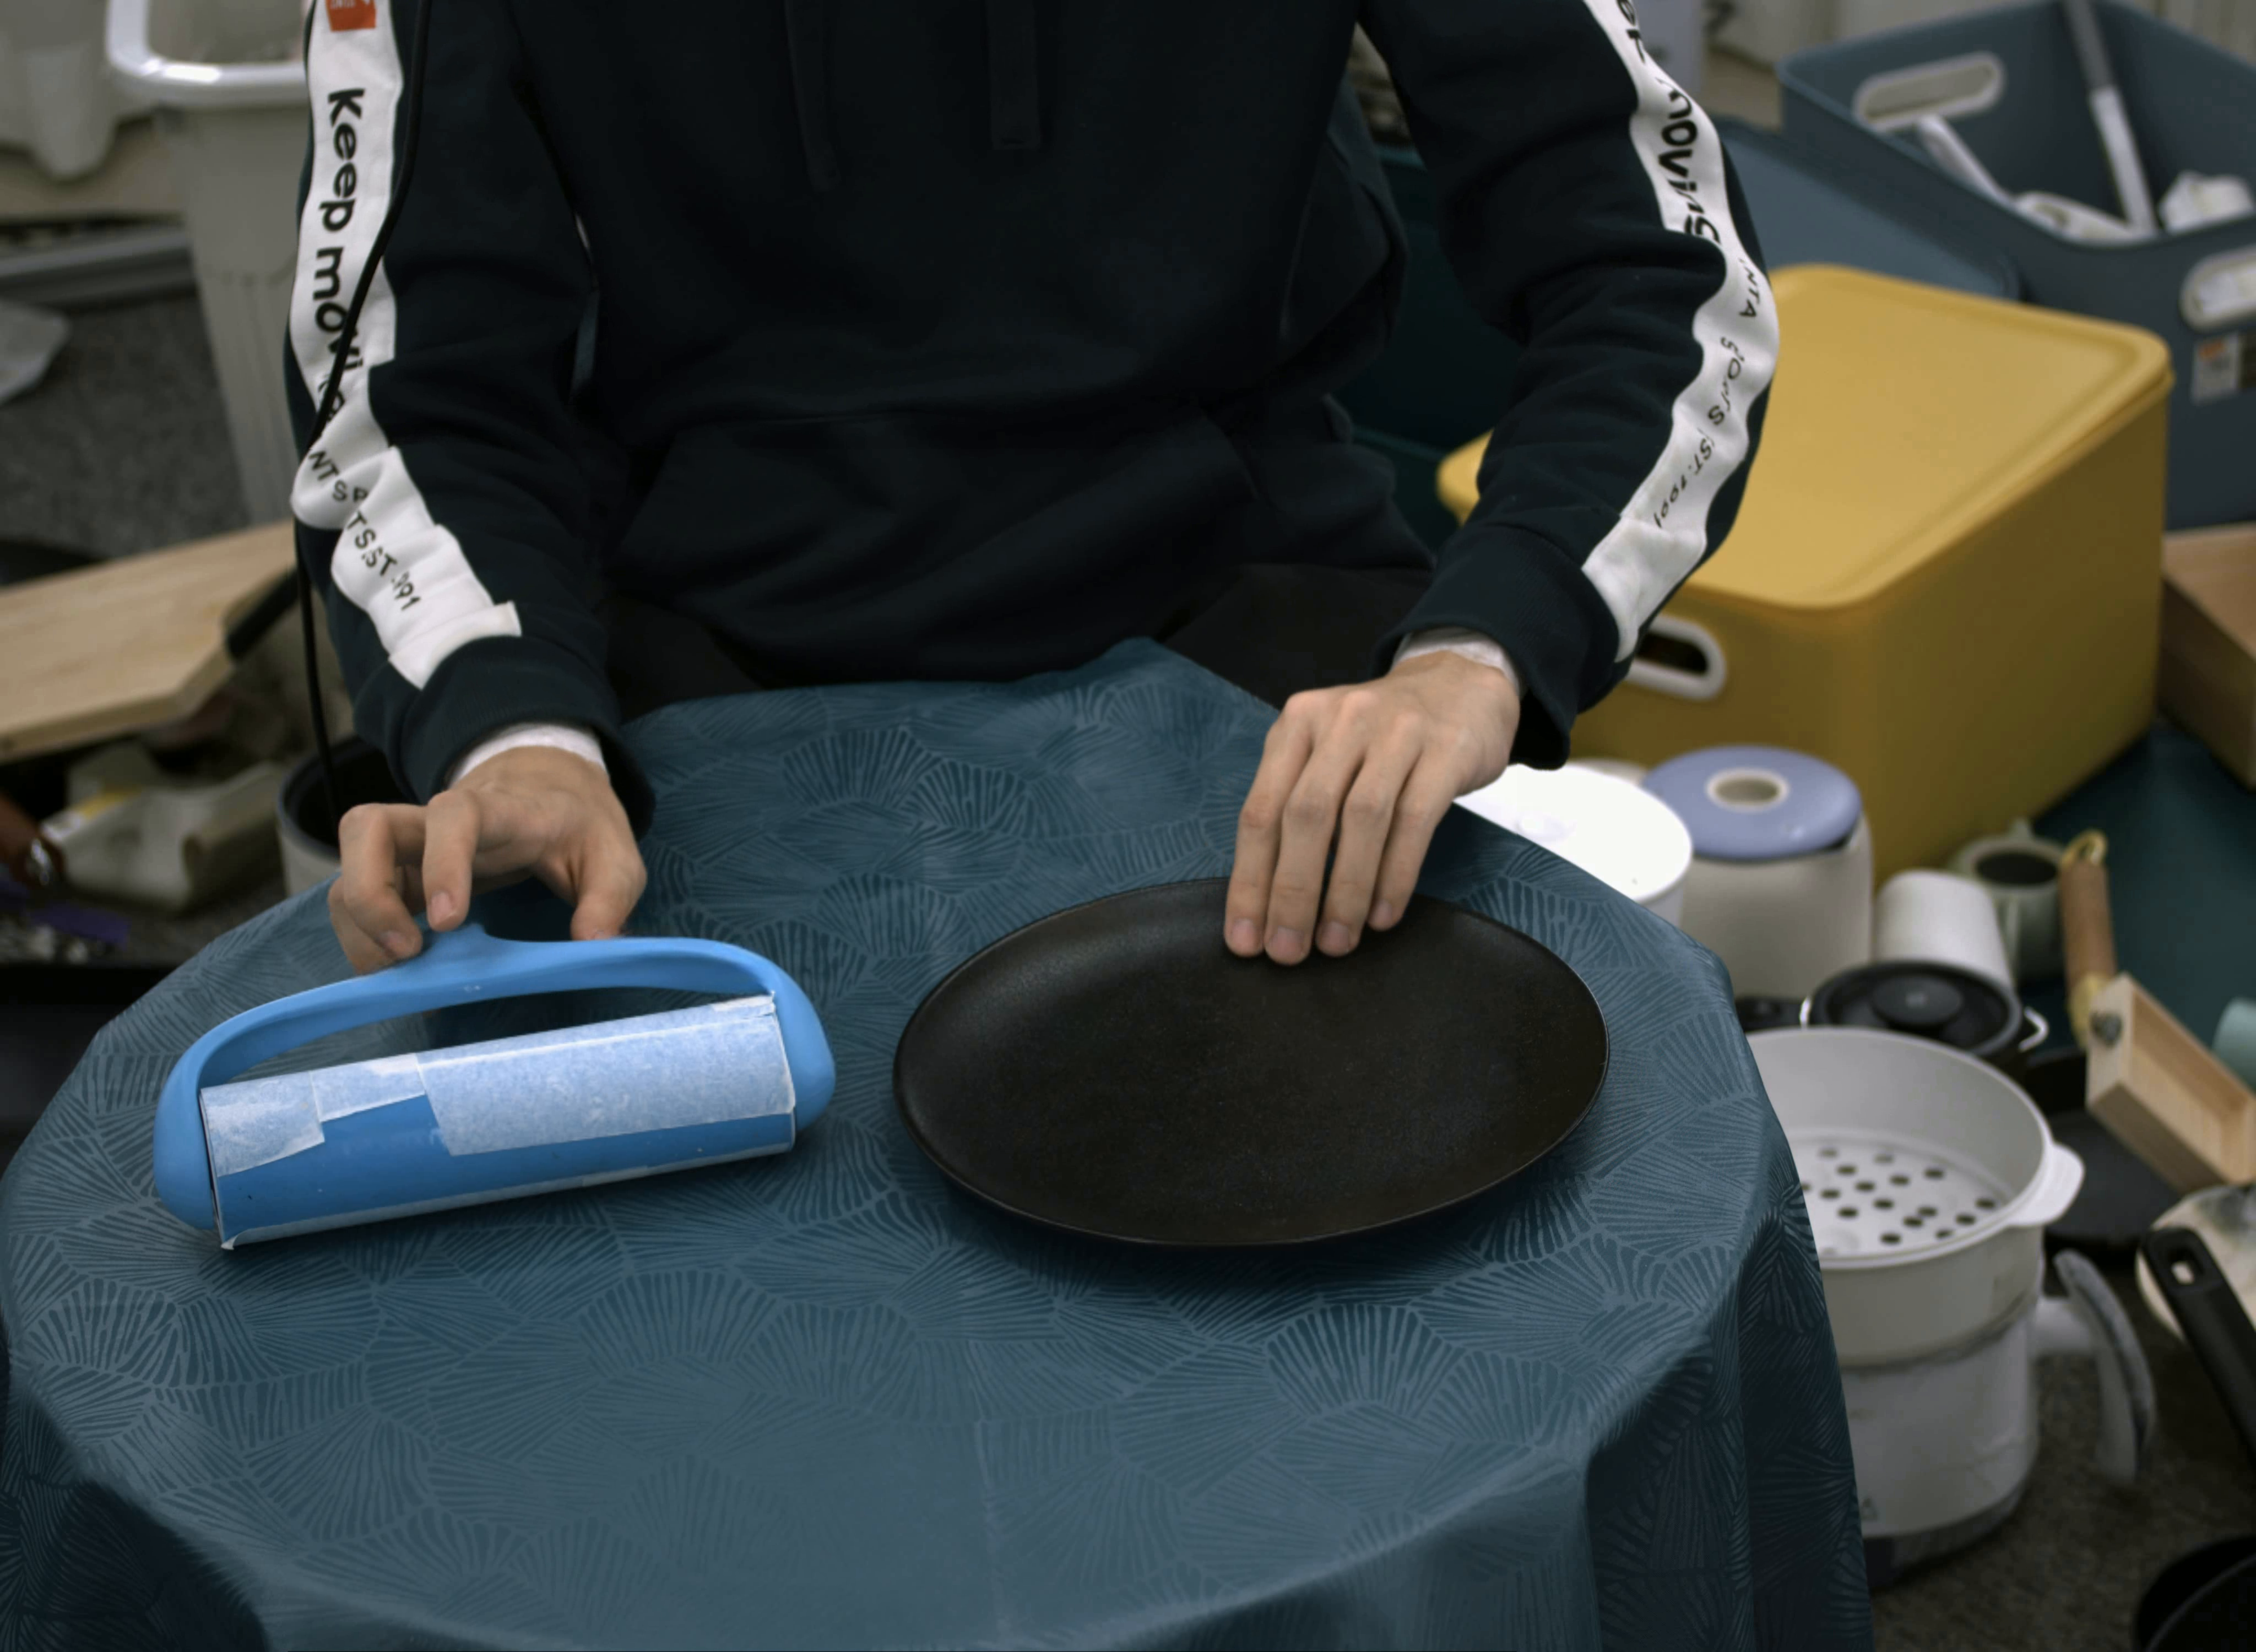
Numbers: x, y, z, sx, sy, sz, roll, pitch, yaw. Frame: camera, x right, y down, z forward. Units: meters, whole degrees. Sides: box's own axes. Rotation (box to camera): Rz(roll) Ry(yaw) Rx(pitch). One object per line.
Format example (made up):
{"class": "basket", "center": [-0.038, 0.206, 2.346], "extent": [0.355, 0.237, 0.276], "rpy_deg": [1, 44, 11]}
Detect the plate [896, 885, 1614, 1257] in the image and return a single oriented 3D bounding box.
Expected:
{"class": "plate", "center": [0.043, 0.086, 1.900], "extent": [0.243, 0.023, 0.248], "rpy_deg": [-2, 27, 1]}

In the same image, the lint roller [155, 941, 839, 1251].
{"class": "lint roller", "center": [-0.225, 0.073, 1.916], "extent": [0.229, 0.067, 0.182], "rpy_deg": [-11, 27, -14]}
